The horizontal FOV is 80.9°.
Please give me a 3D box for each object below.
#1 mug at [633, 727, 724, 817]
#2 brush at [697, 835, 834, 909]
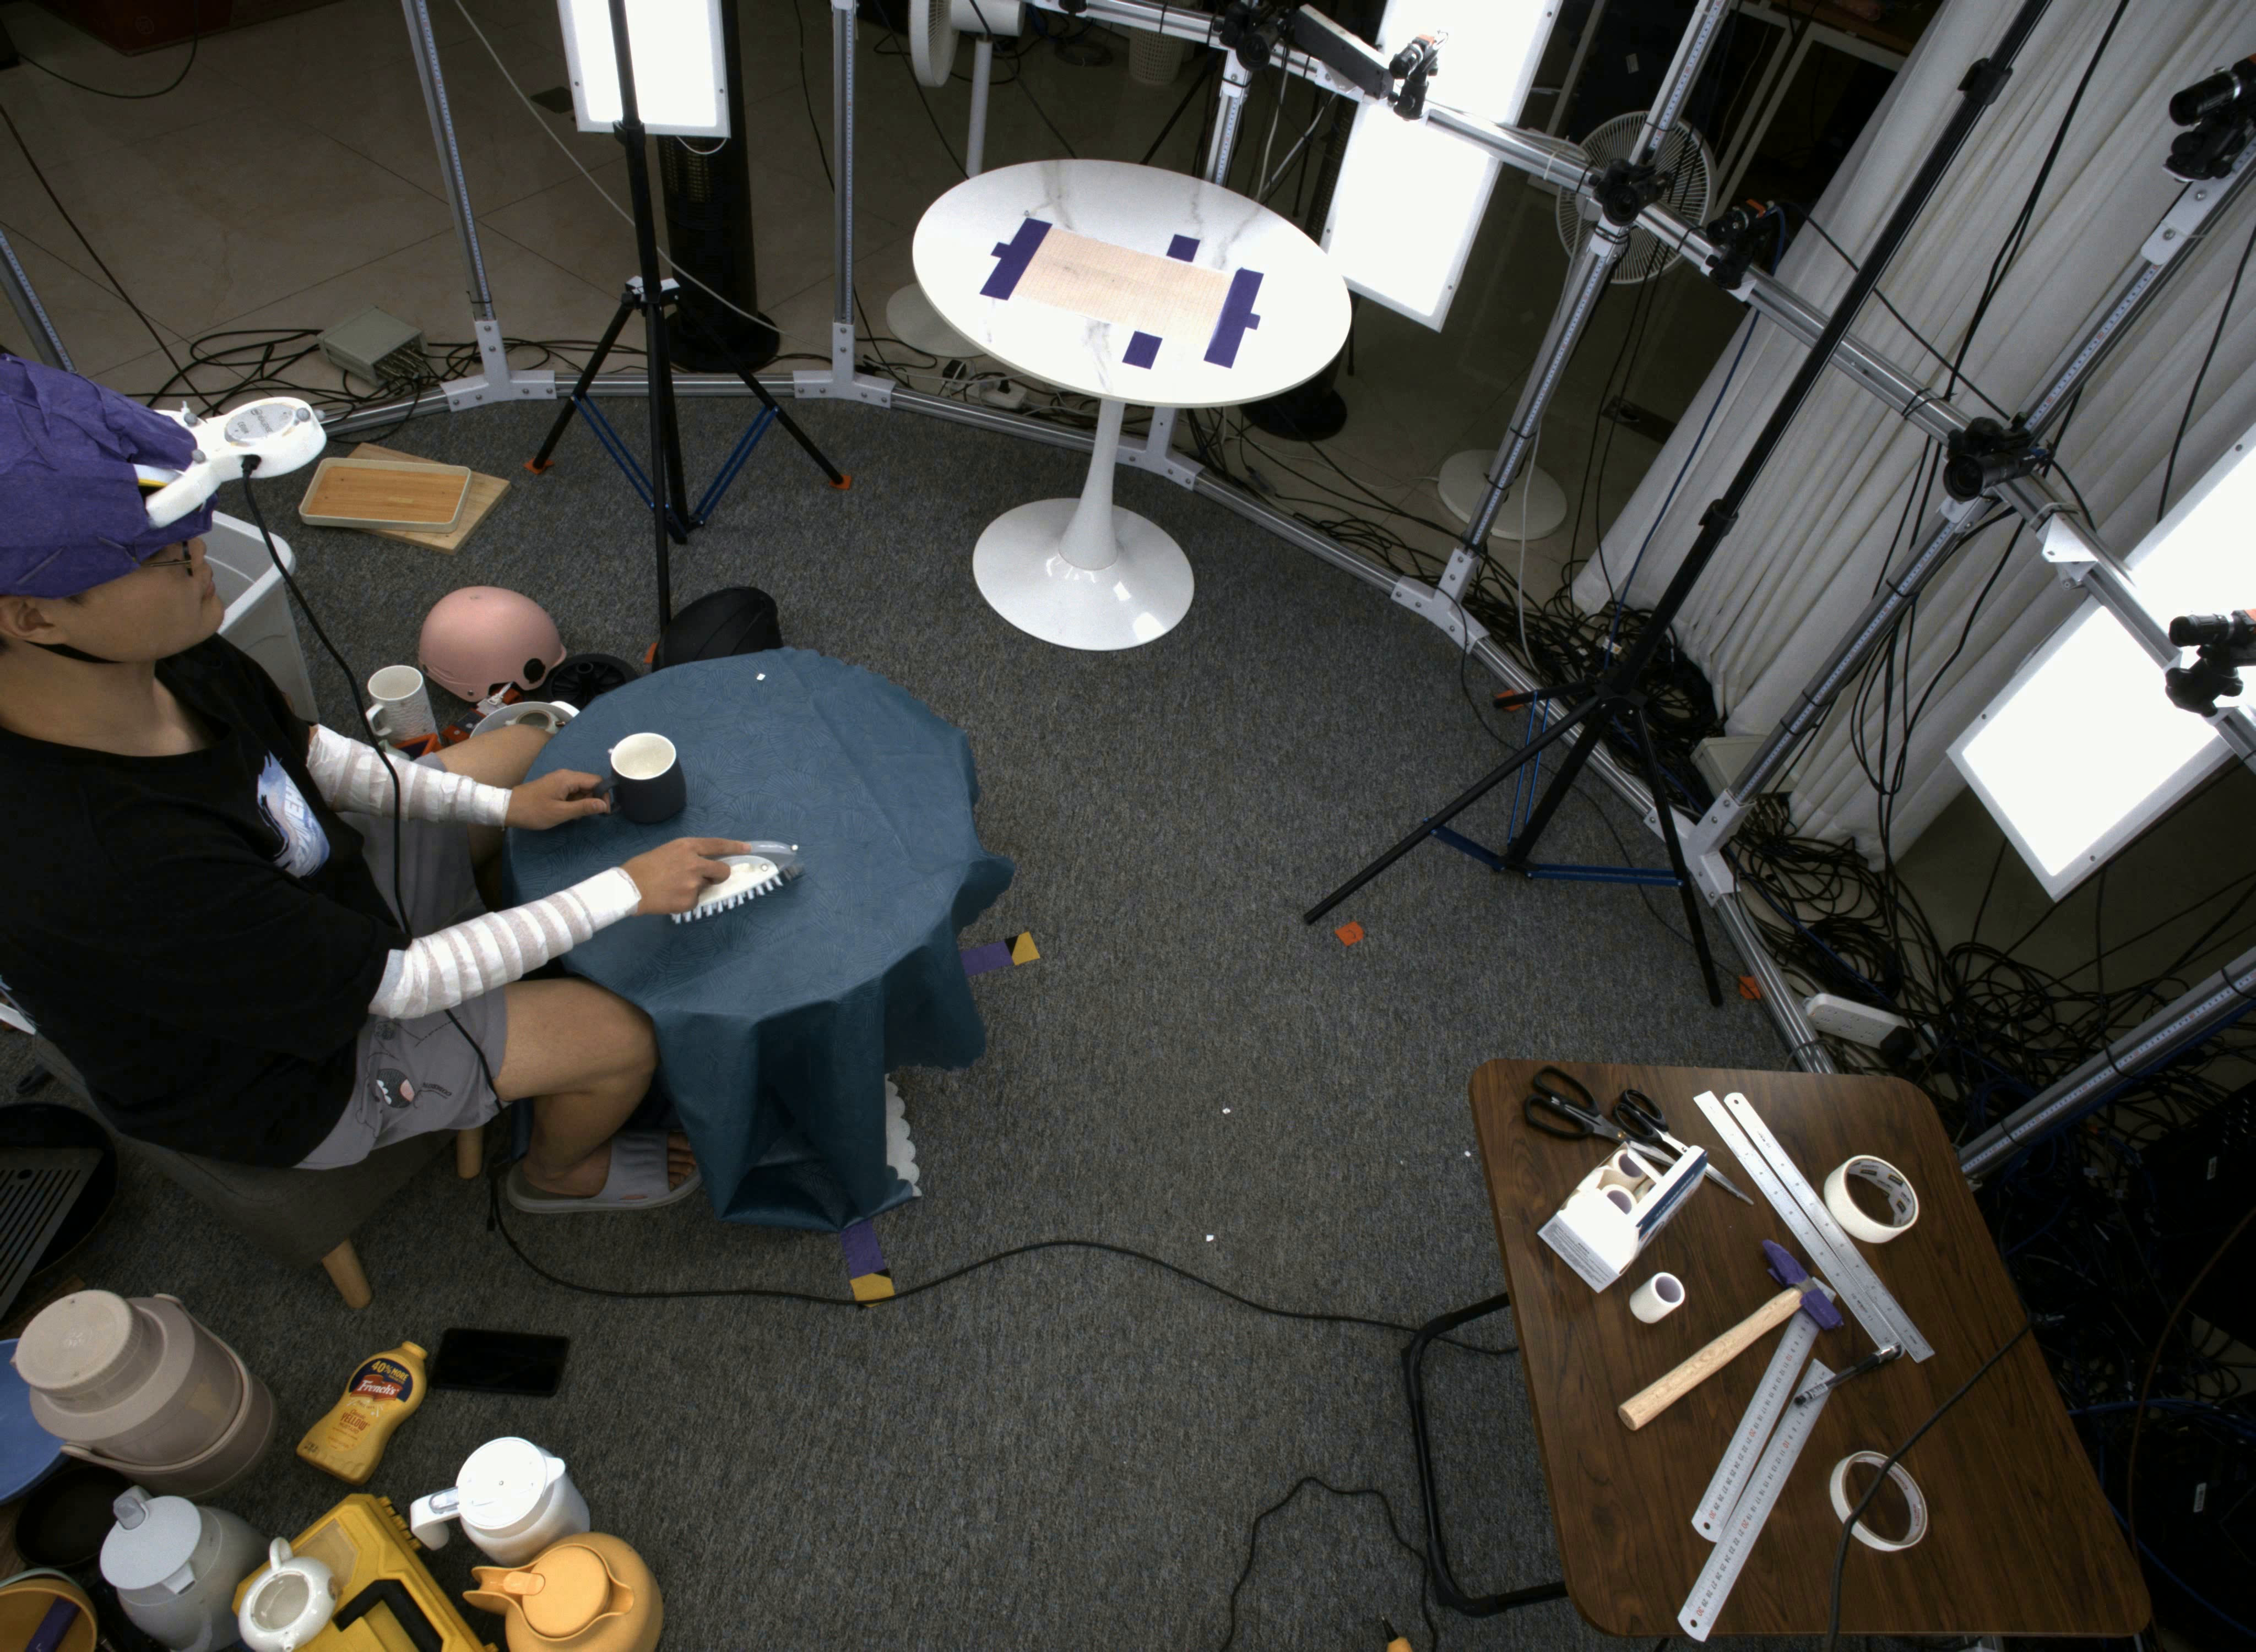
[{"bbox_3d":[-0.592,-0.065,1.683,0.123,0.092,0.091,-31,65,-30],"label":"mug"},{"bbox_3d":[-0.452,0.042,1.625,0.177,0.096,0.060,-12,59,-26],"label":"brush"}]
